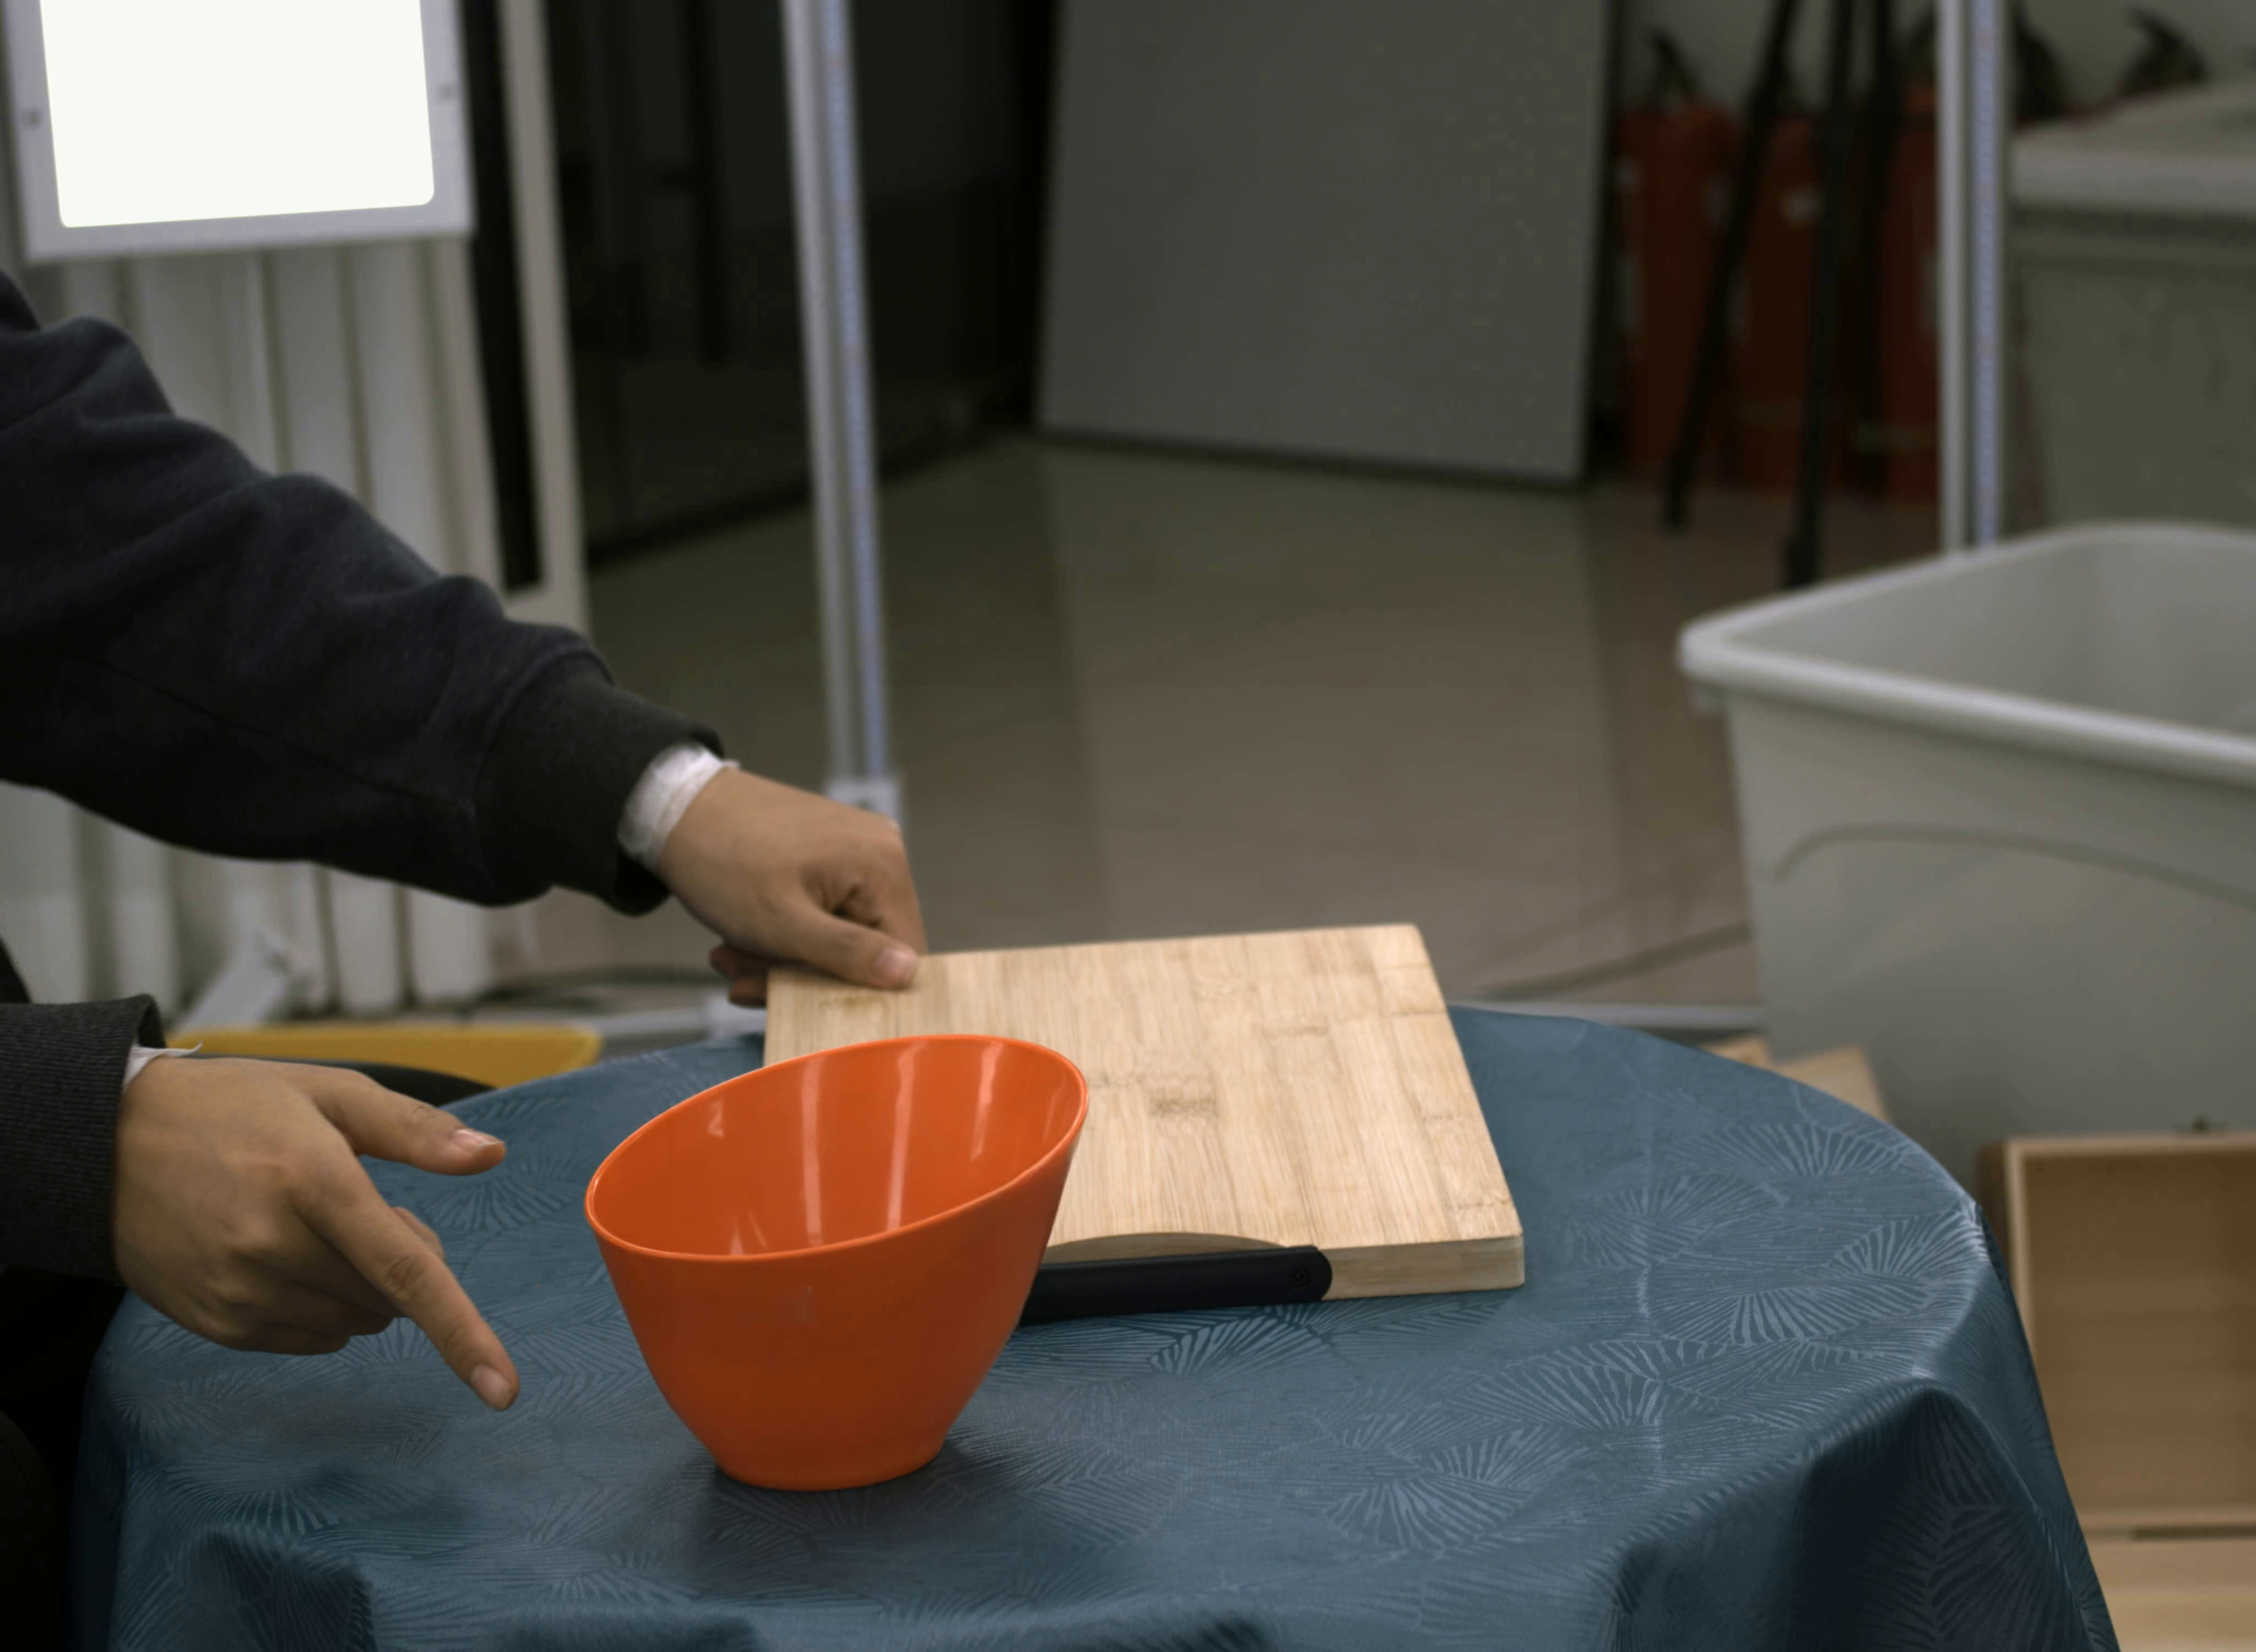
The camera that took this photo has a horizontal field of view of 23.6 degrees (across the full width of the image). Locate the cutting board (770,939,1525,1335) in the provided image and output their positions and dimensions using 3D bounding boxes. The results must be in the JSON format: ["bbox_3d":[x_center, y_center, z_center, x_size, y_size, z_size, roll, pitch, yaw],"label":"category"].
[{"bbox_3d":[-0.004,0.101,1.805,0.247,0.024,0.349,-5,15,-2],"label":"cutting board"}]

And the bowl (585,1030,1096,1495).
[{"bbox_3d":[-0.080,0.128,1.544,0.146,0.106,0.148,-2,15,0],"label":"bowl"}]
